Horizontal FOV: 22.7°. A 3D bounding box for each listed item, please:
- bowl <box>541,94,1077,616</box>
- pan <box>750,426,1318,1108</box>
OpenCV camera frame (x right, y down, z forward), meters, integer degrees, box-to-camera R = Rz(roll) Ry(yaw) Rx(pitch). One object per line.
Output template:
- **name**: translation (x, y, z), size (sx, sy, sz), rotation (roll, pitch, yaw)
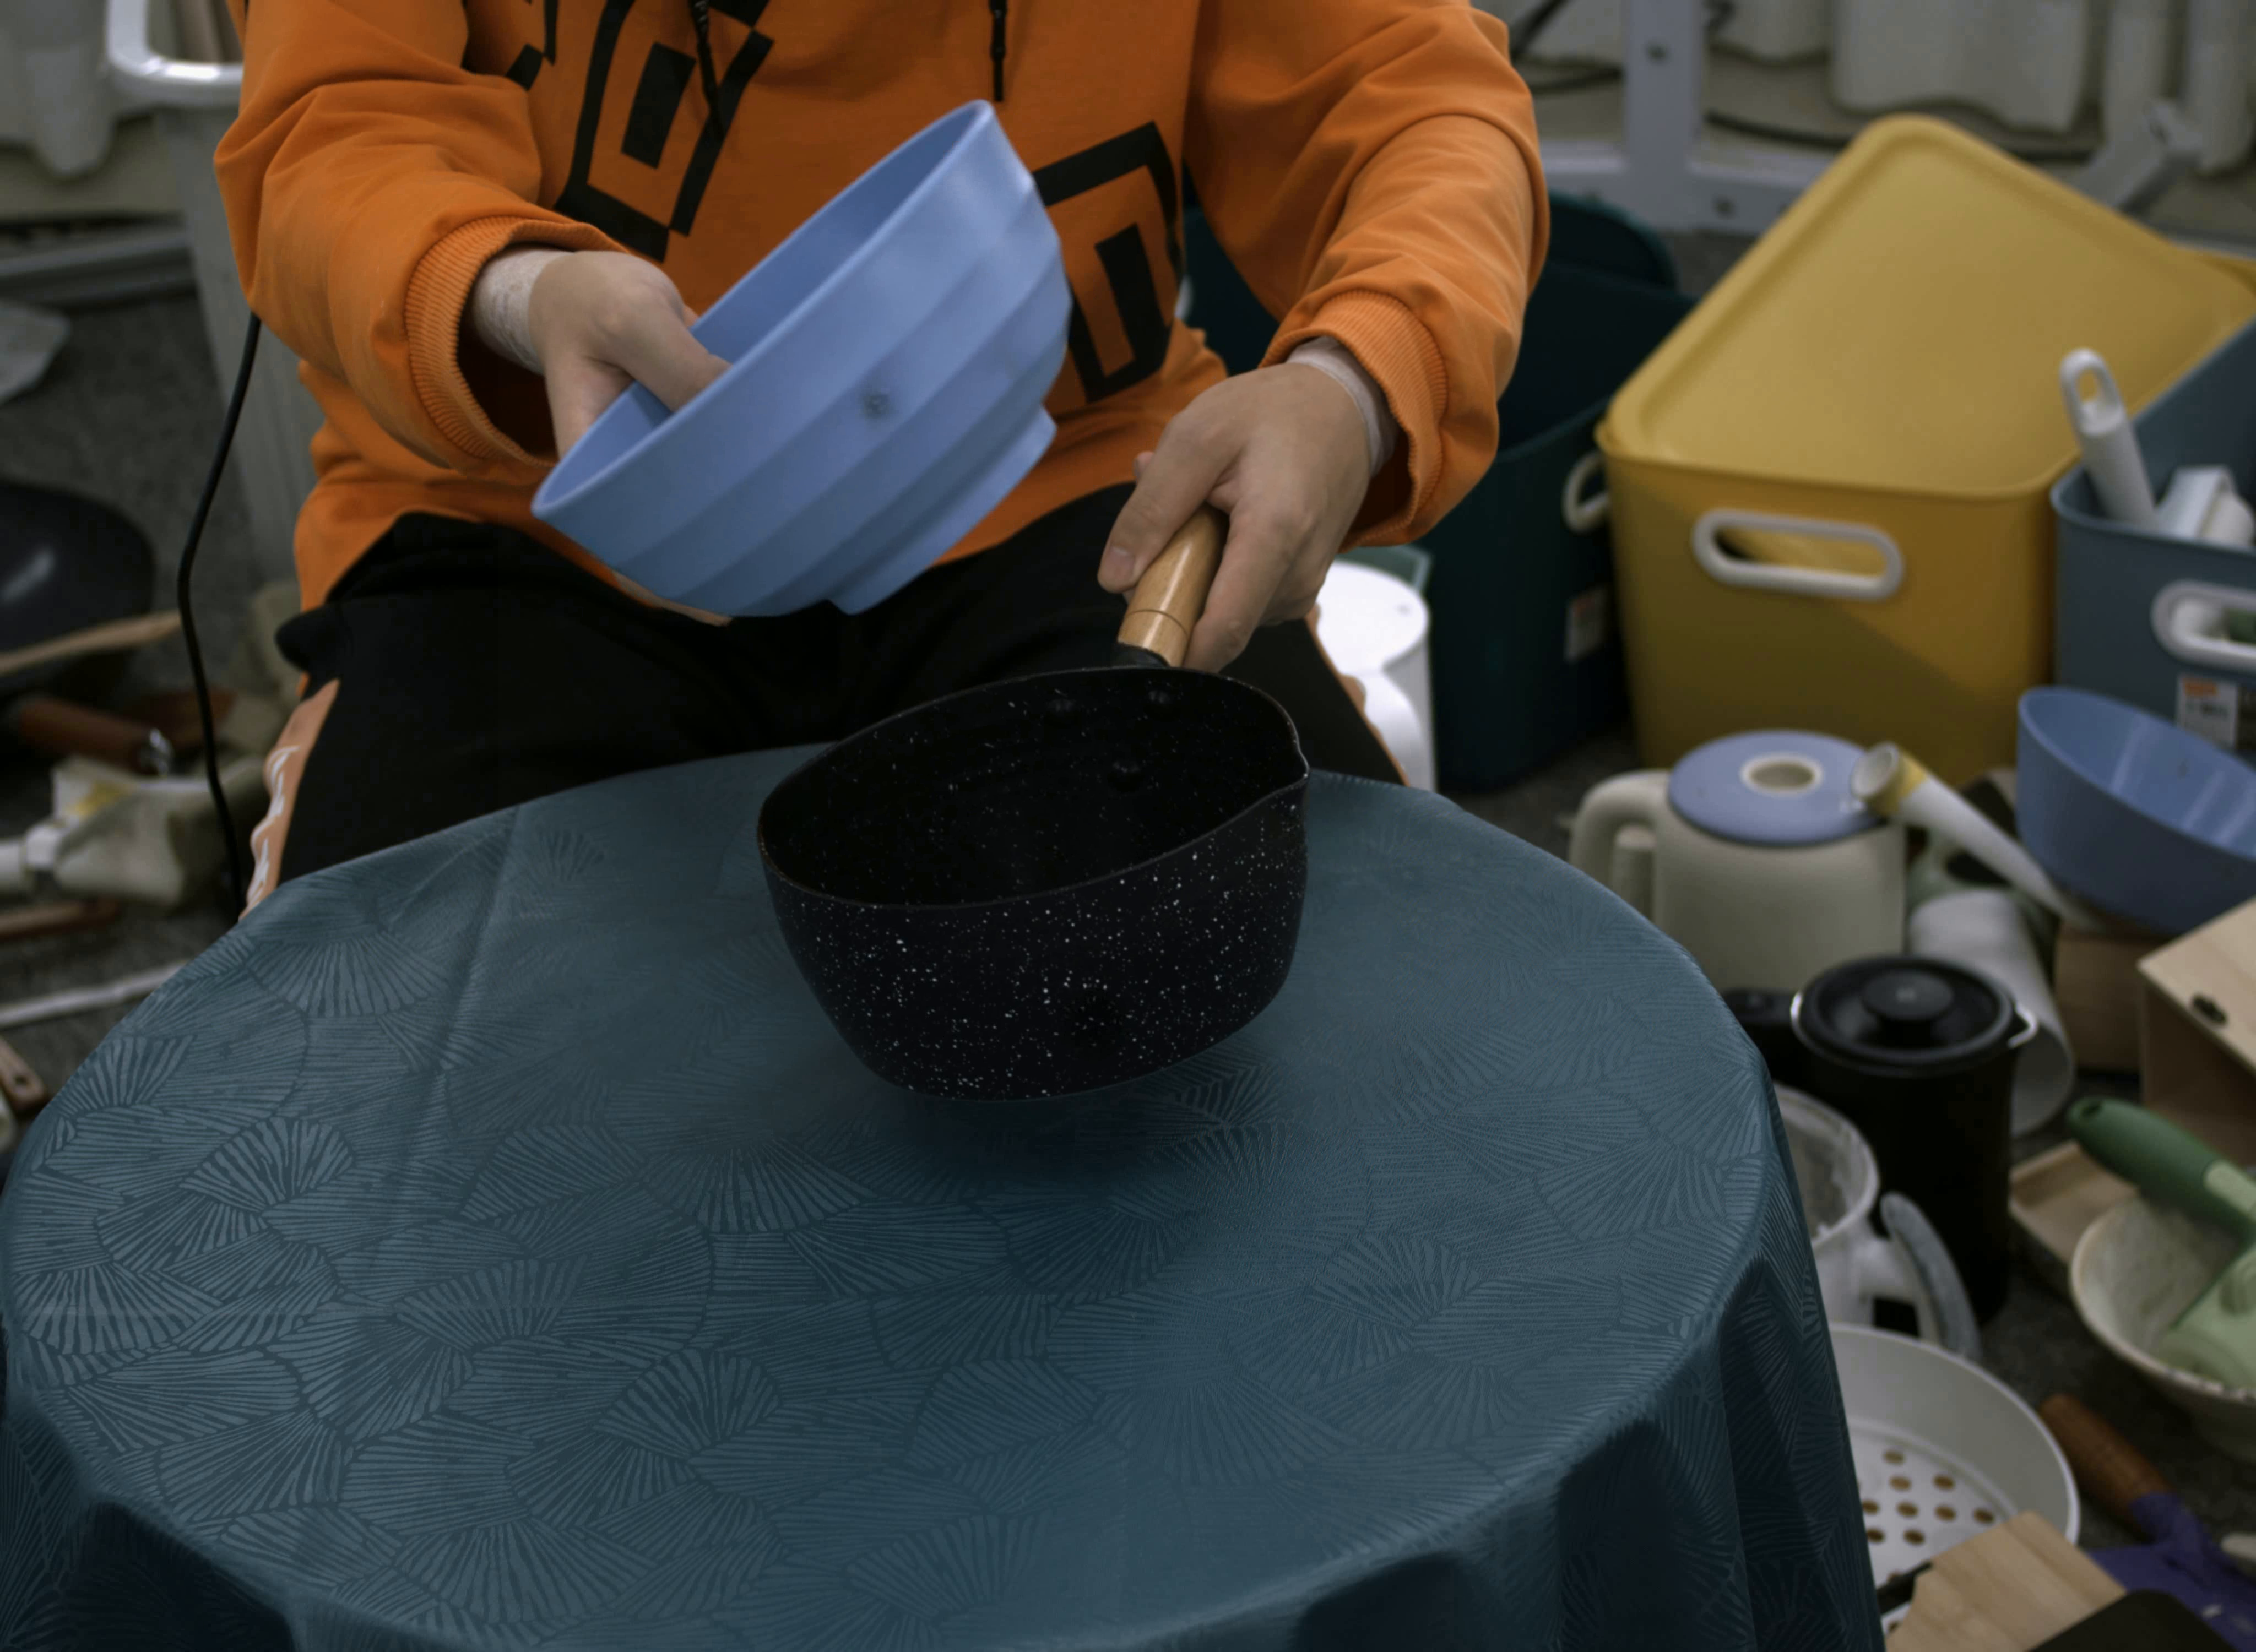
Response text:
- **bowl**: translation (-0.086, -0.134, 1.809), size (0.195, 0.095, 0.198), rotation (-40, 12, 11)
- **pan**: translation (-0.006, -0.023, 1.960), size (0.205, 0.107, 0.349), rotation (-4, 26, 20)
